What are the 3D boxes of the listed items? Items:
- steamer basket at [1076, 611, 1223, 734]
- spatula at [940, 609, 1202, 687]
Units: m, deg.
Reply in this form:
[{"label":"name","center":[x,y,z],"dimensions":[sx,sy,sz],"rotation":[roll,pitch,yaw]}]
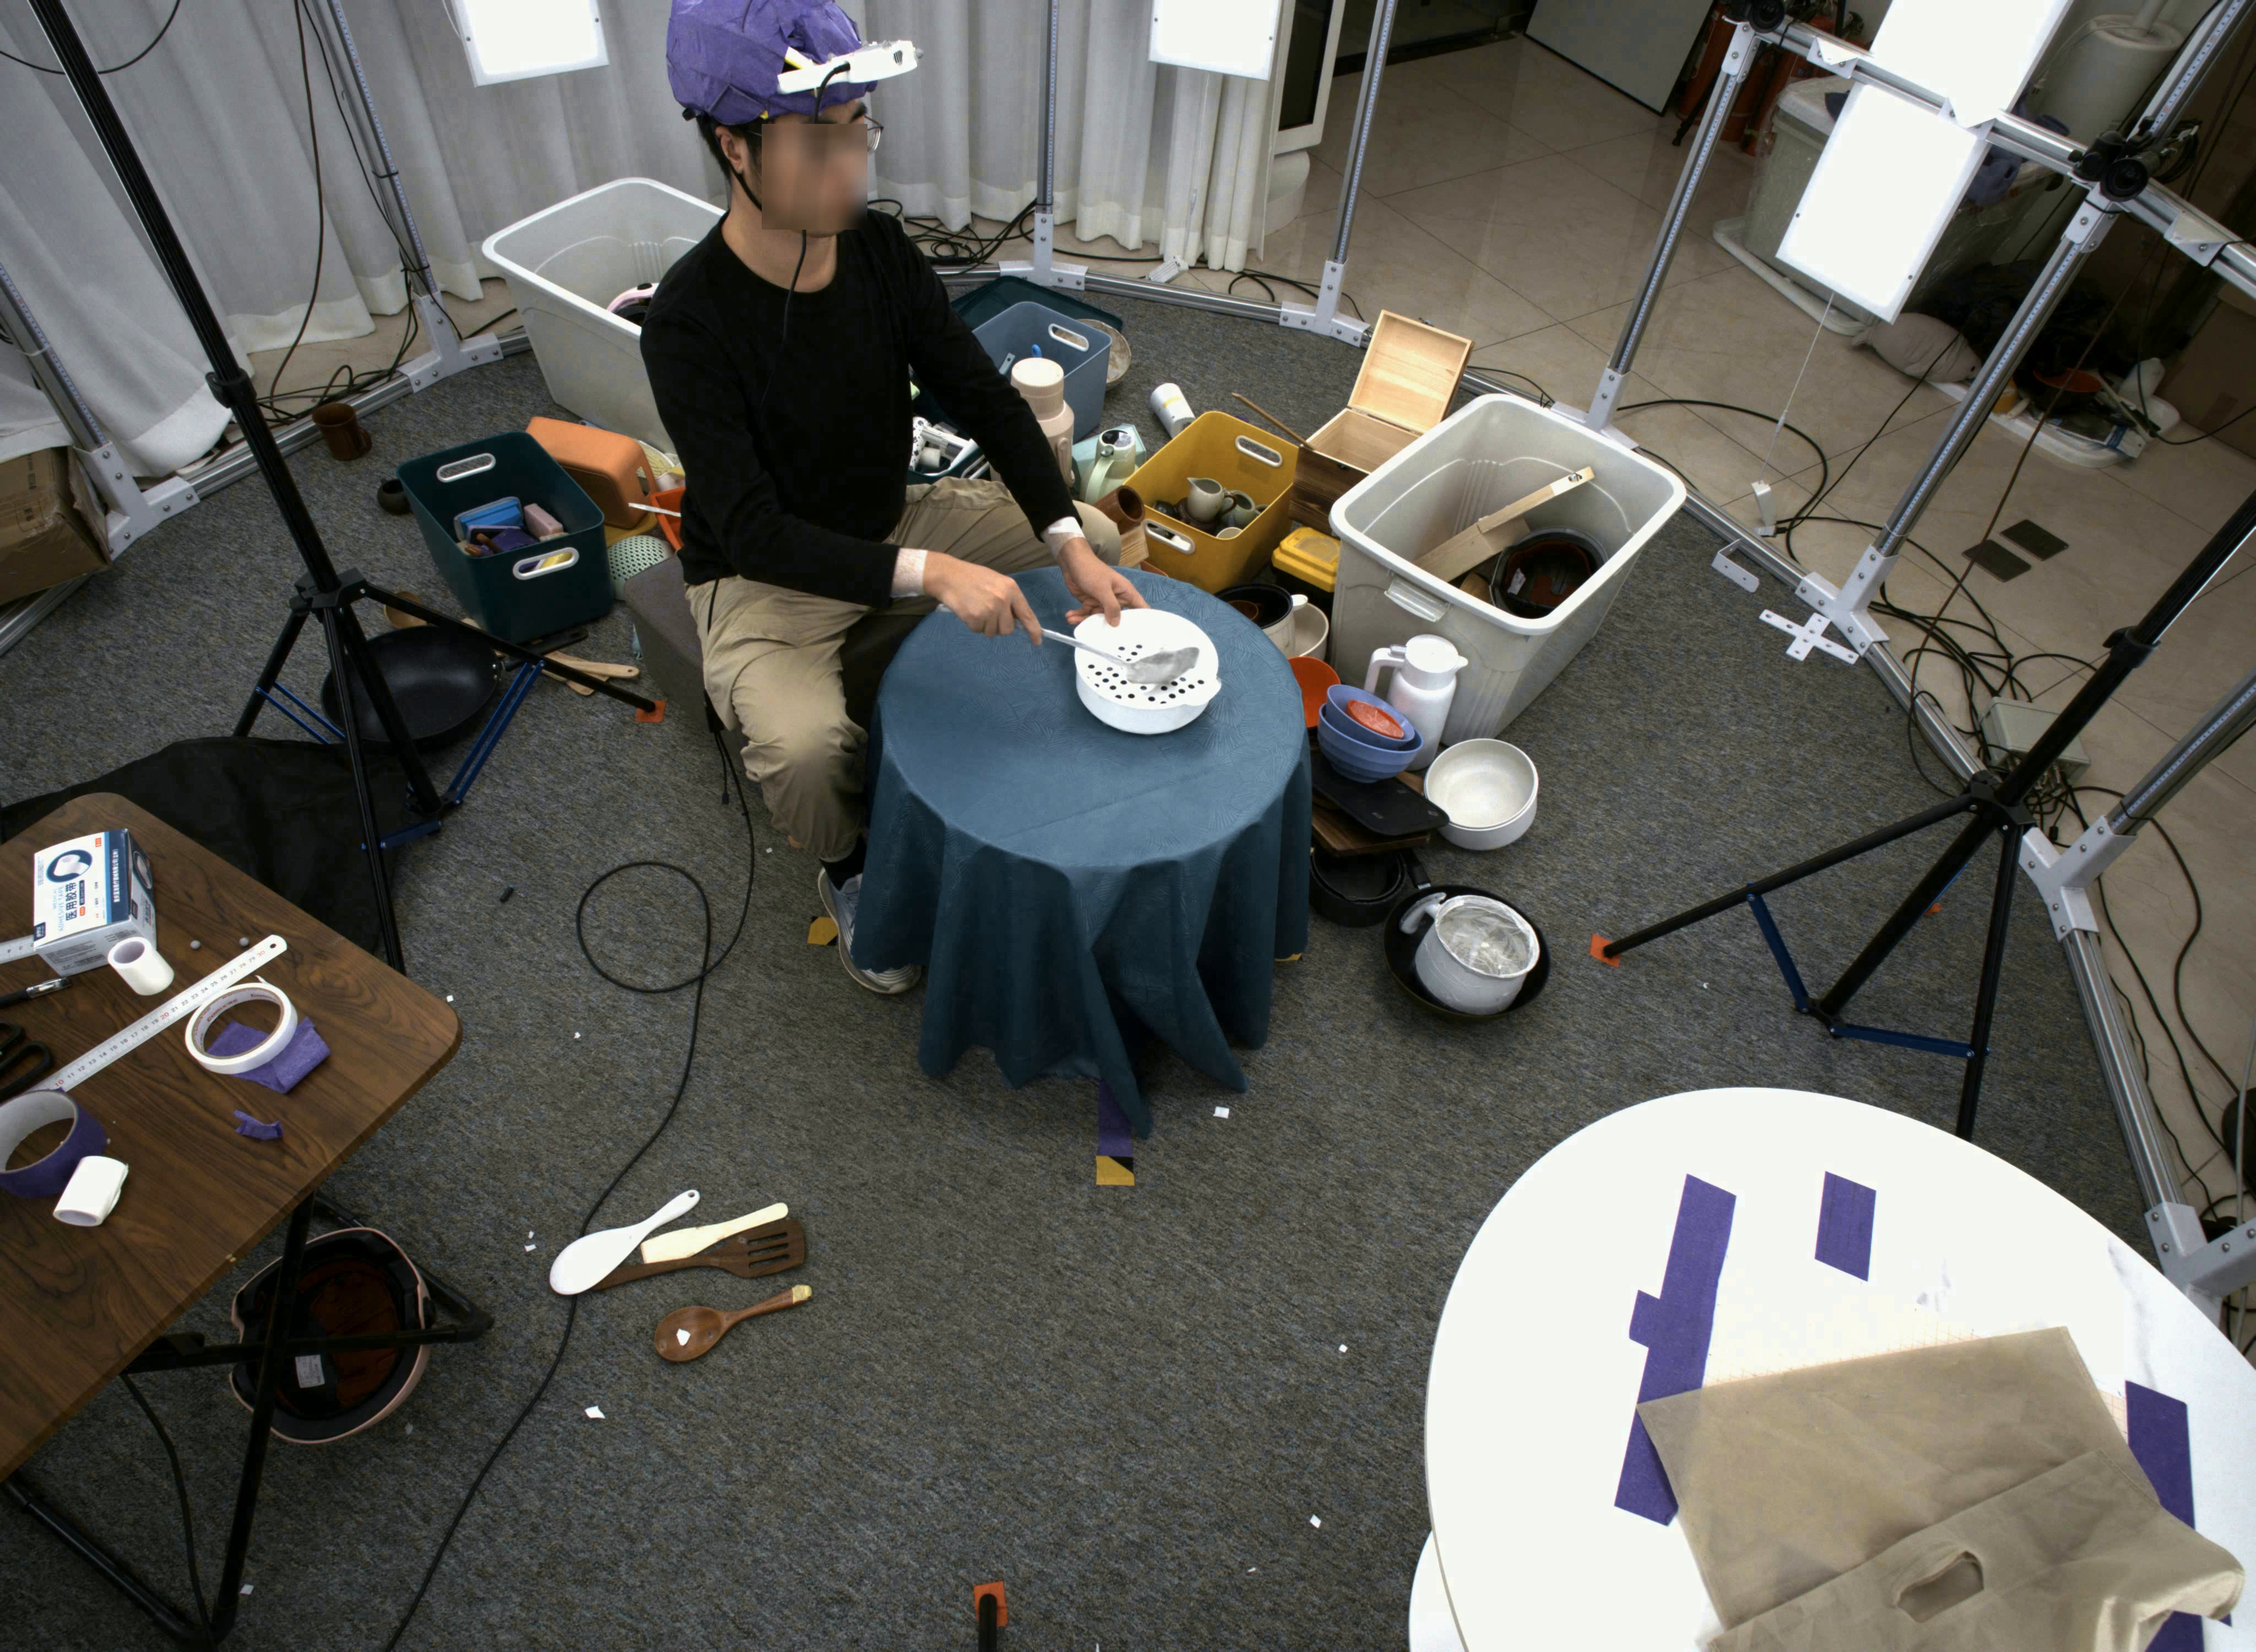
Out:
[{"label":"steamer basket","center":[0.028,-0.216,1.814],"dimensions":[0.233,0.067,0.204],"rotation":[32,53,23]},{"label":"spatula","center":[-0.074,-0.251,1.746],"dimensions":[0.362,0.097,0.046],"rotation":[16,60,-17]}]
